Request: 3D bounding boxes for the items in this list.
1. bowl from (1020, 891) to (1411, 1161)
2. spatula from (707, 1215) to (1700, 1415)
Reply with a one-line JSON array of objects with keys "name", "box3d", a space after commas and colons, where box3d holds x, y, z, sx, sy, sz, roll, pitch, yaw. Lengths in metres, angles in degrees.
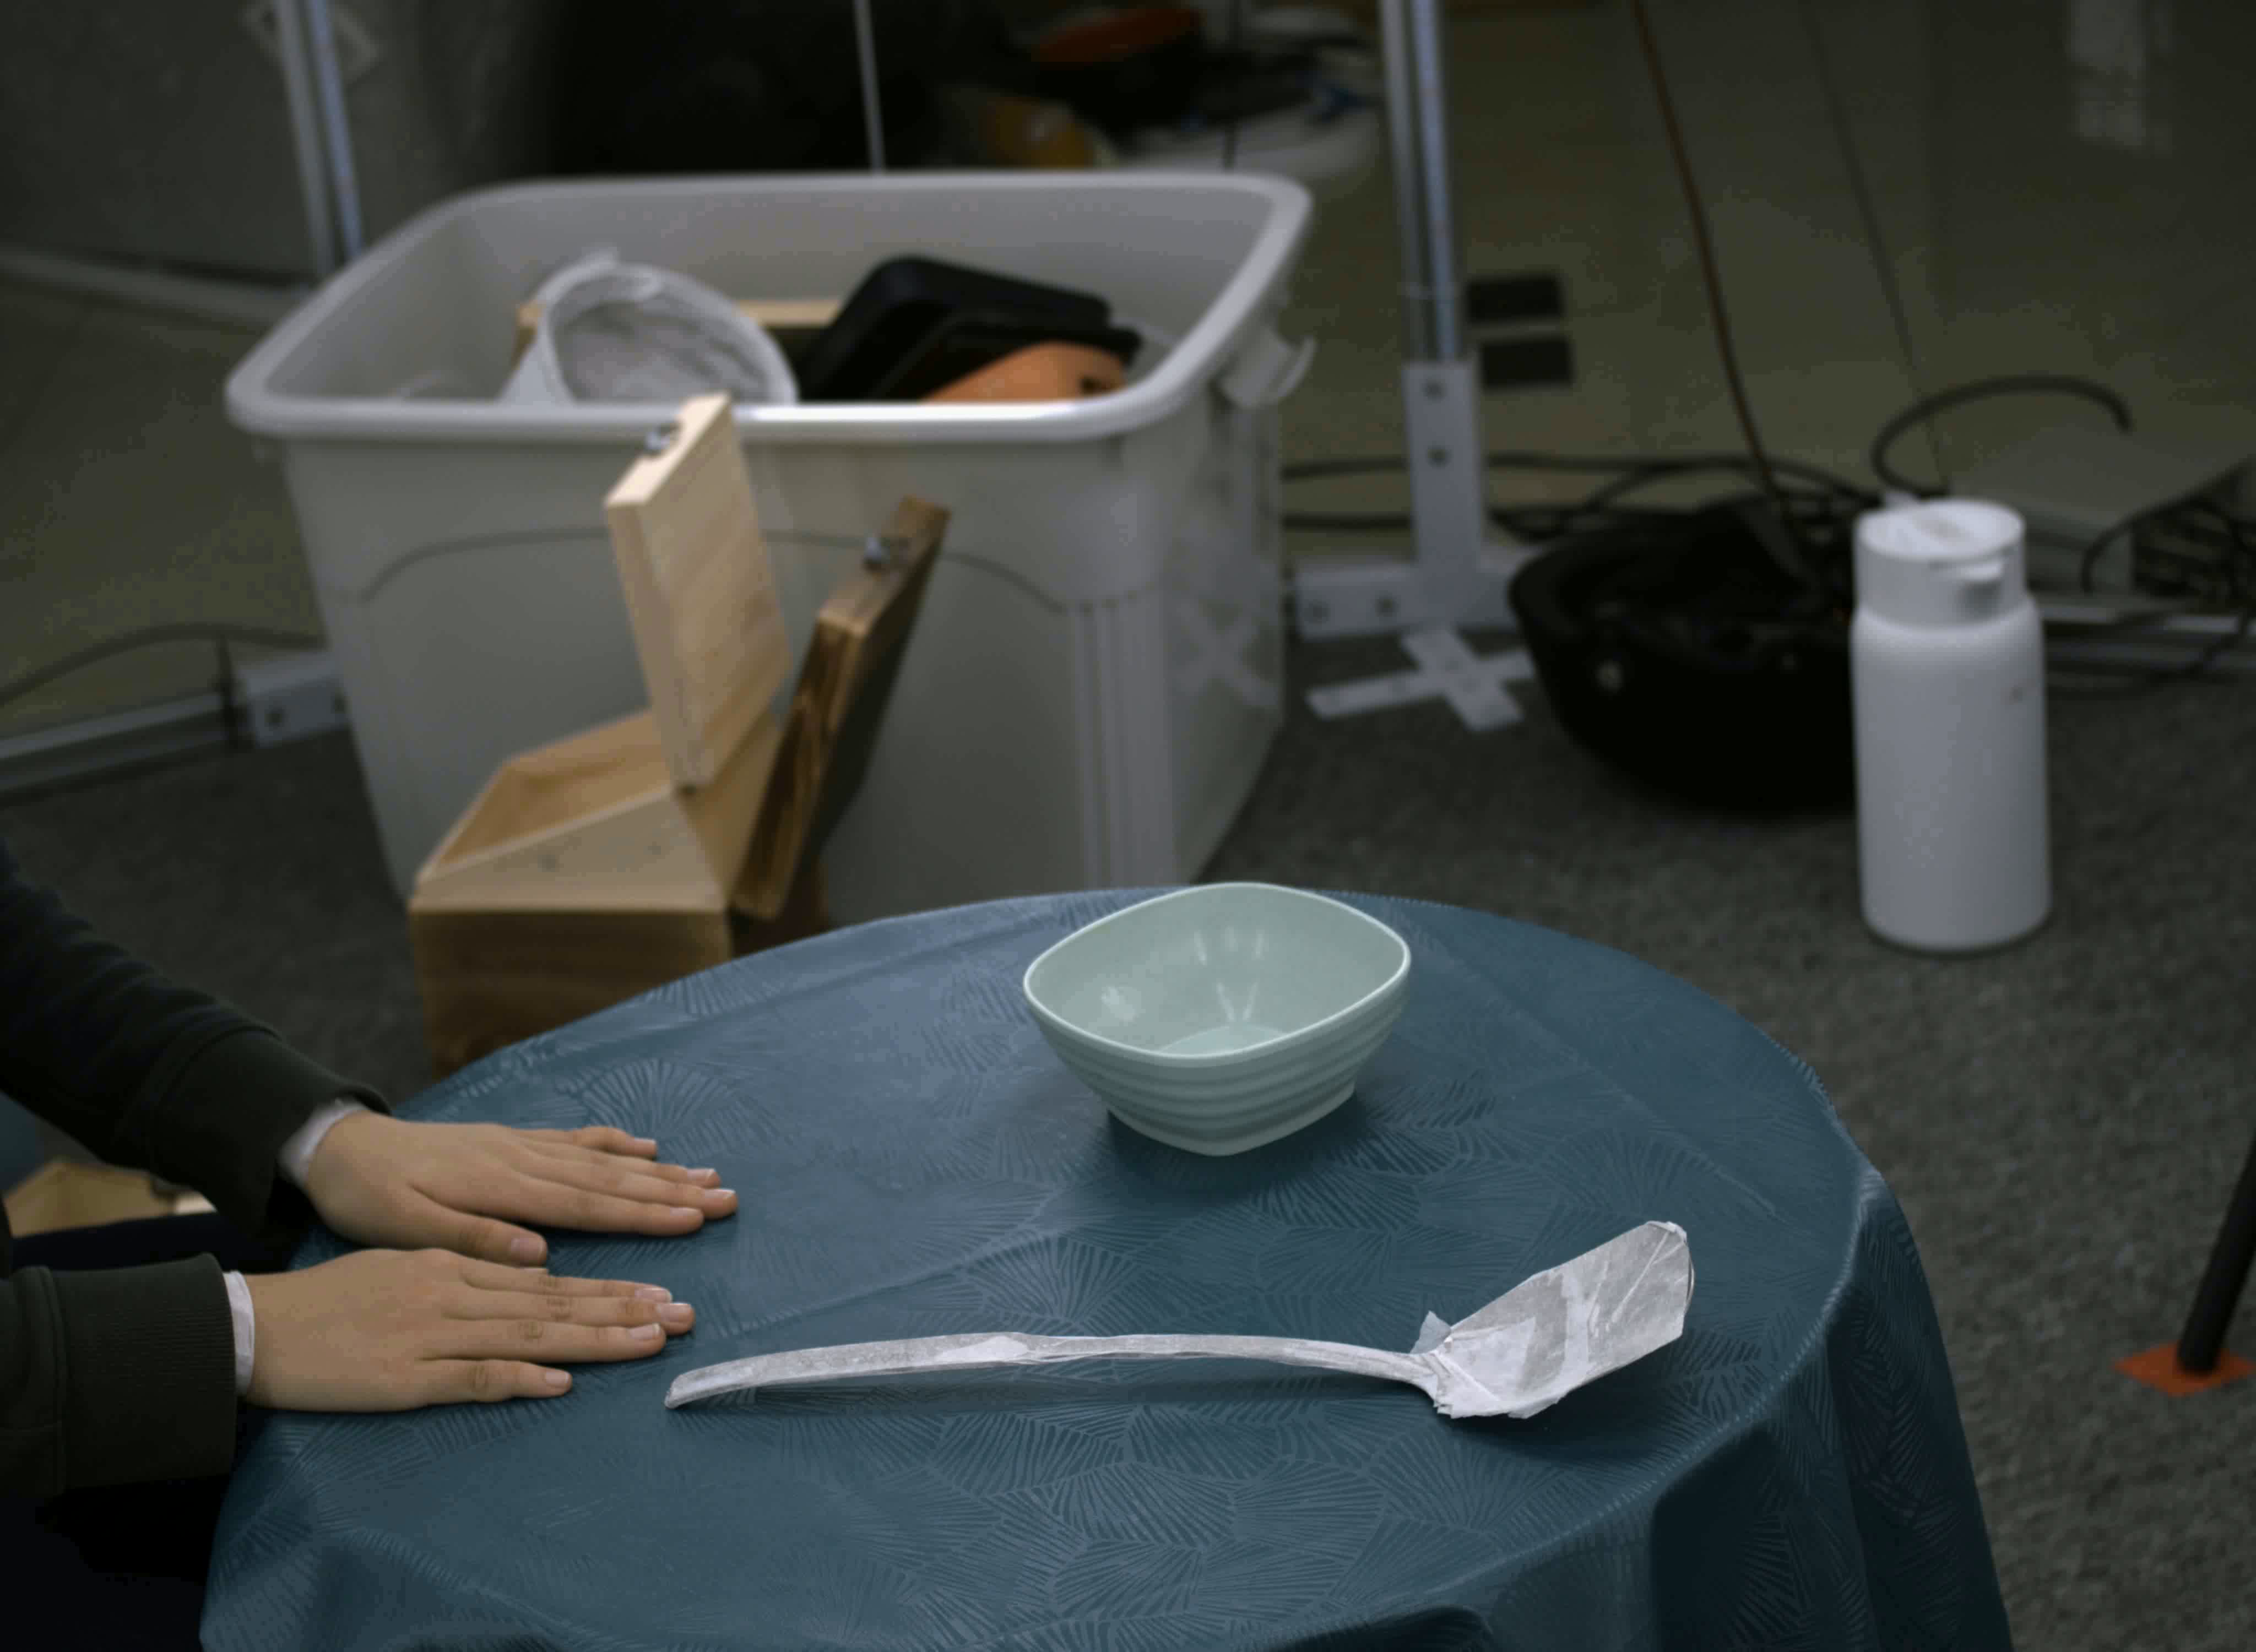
[{"name": "bowl", "box3d": [0.035, 0.082, 2.200, 0.151, 0.059, 0.149, -3, 24, 1]}, {"name": "spatula", "box3d": [0.021, 0.180, 2.013, 0.364, 0.045, 0.097, -2, 27, 10]}]
